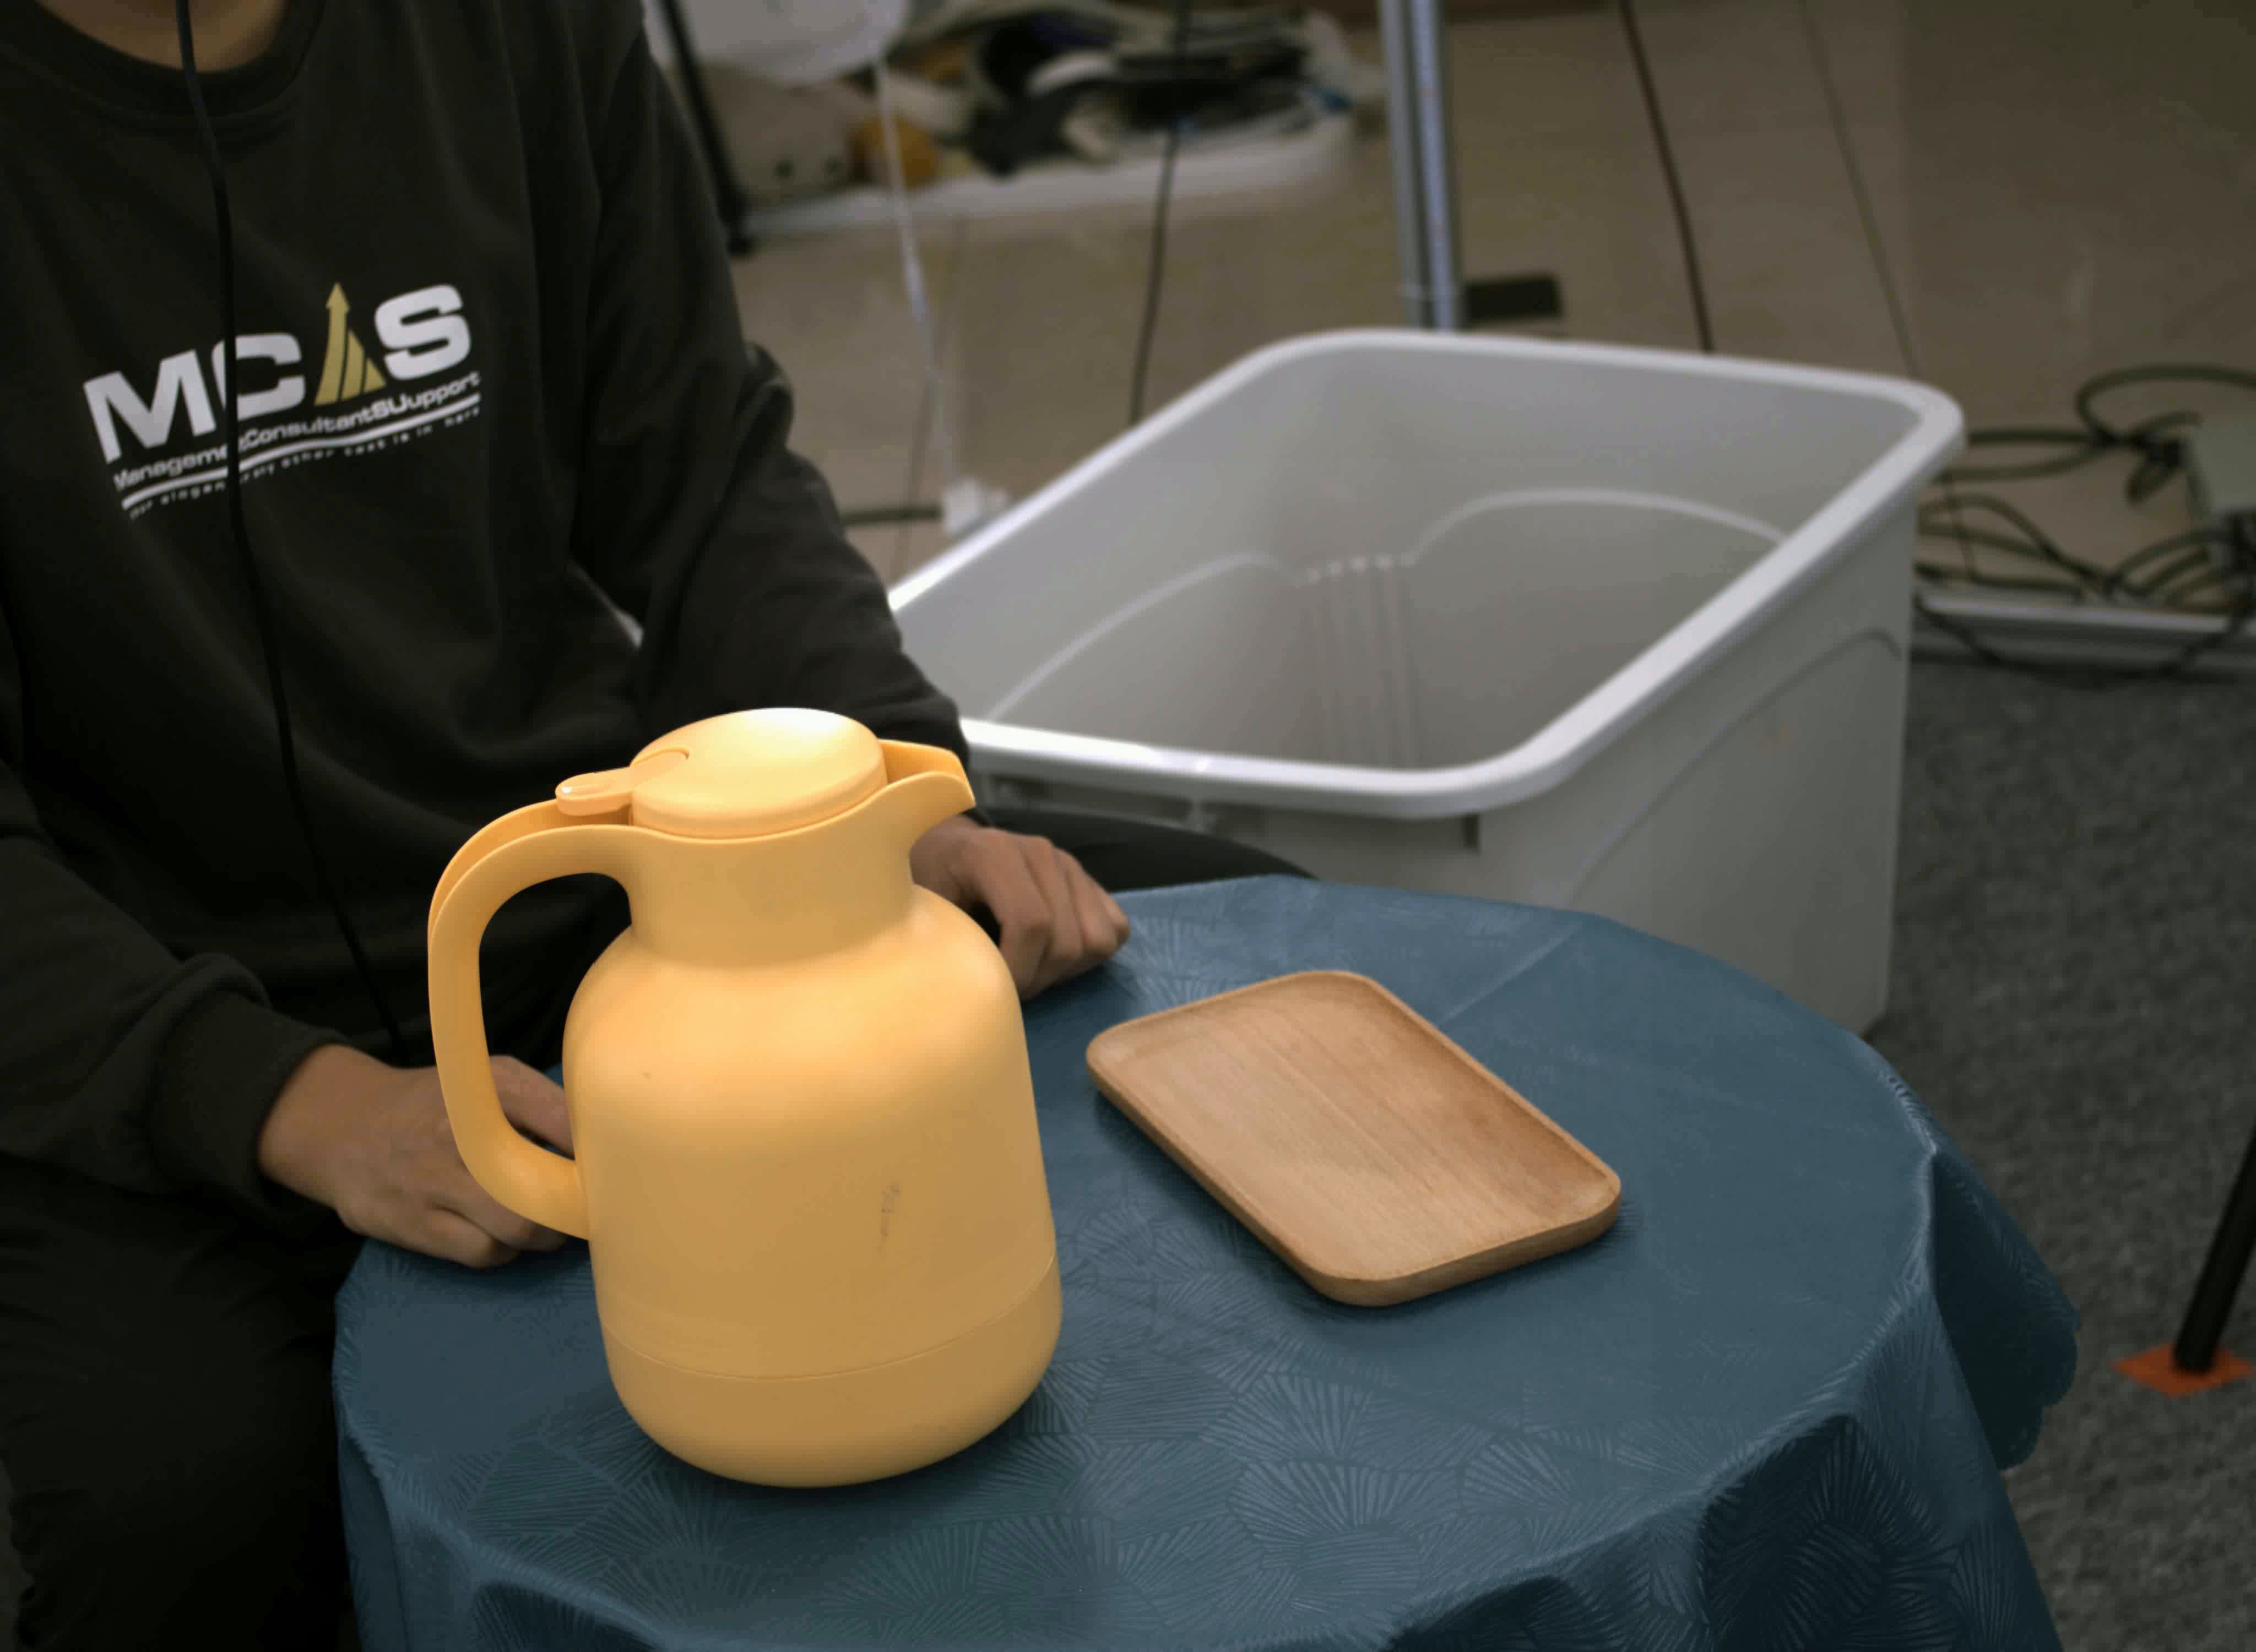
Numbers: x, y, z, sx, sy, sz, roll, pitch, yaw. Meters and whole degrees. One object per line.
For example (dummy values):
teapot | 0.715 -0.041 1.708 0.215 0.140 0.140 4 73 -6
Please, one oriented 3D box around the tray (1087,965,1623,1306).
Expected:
tray | 0.083 0.115 2.158 0.130 0.023 0.248 -13 25 -20

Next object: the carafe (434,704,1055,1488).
carafe | -0.134 0.090 1.966 0.202 0.264 0.161 -6 22 -3
